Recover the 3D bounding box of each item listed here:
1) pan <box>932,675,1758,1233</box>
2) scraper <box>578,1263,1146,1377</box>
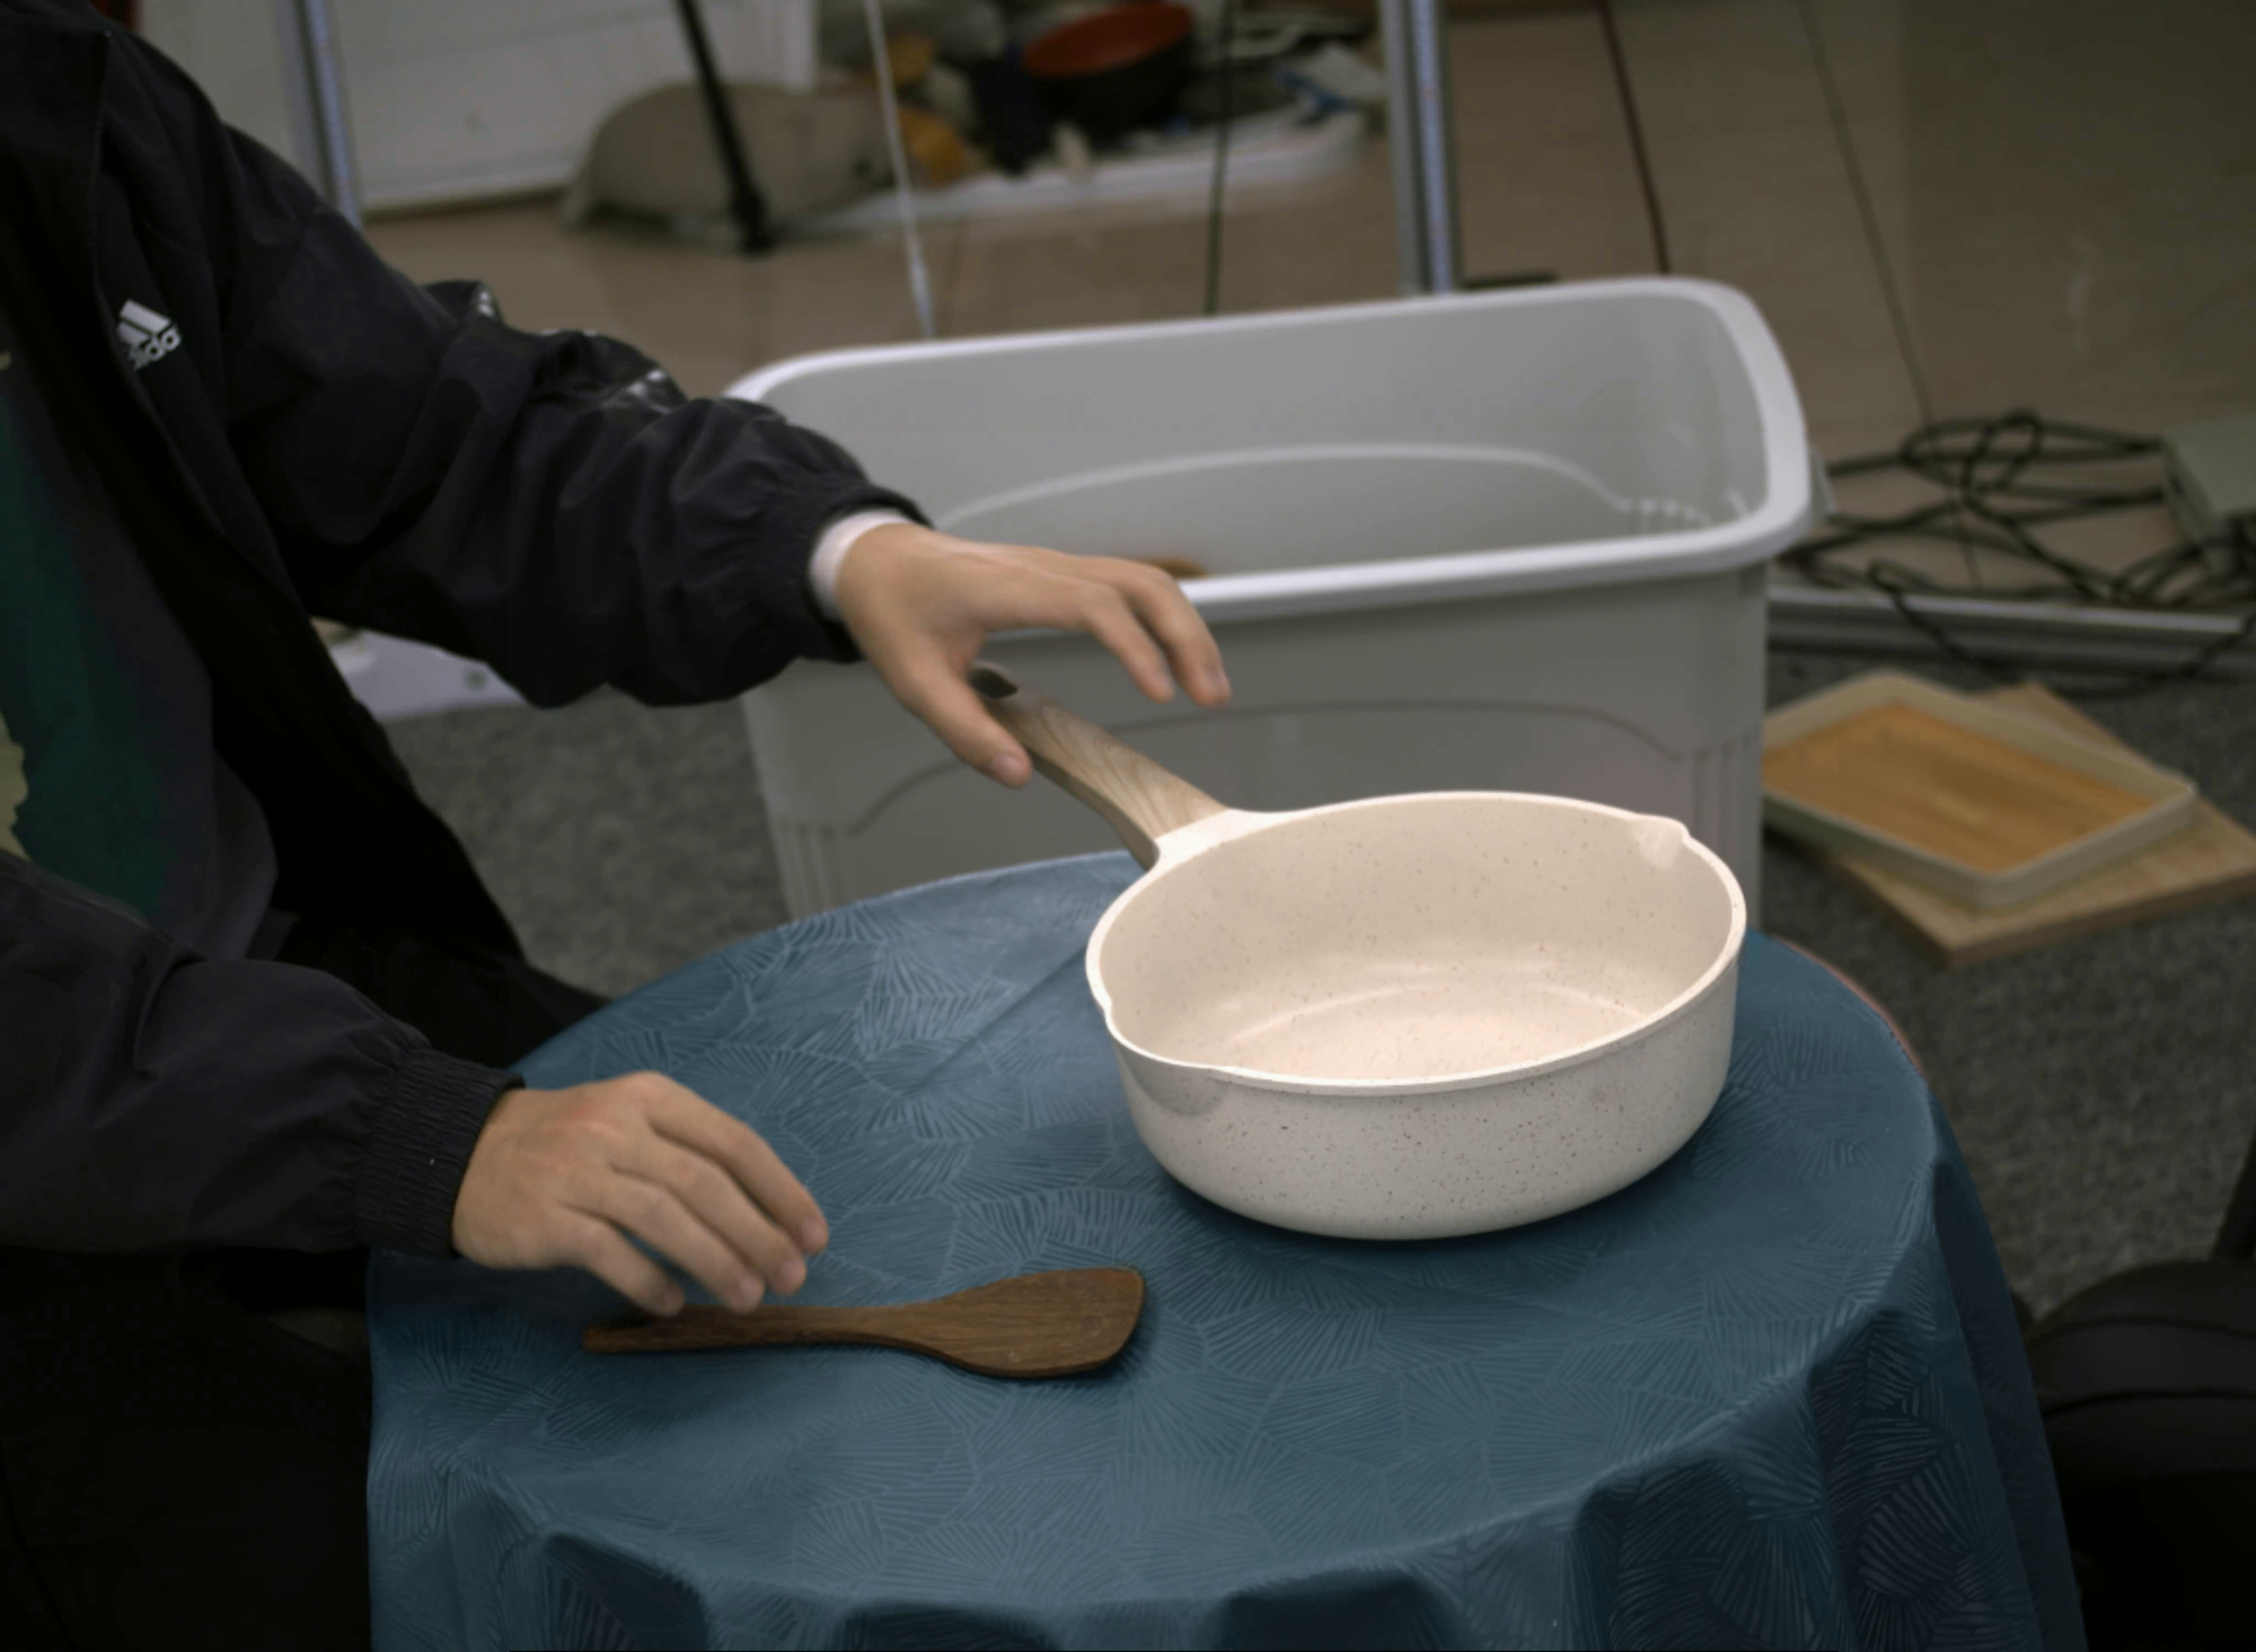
[{"bbox_3d":[0.062,0.041,2.224,0.261,0.103,0.431,-24,29,-29],"label":"pan"},{"bbox_3d":[-0.098,0.182,2.069,0.211,0.011,0.075,-2,24,11],"label":"scraper"}]
